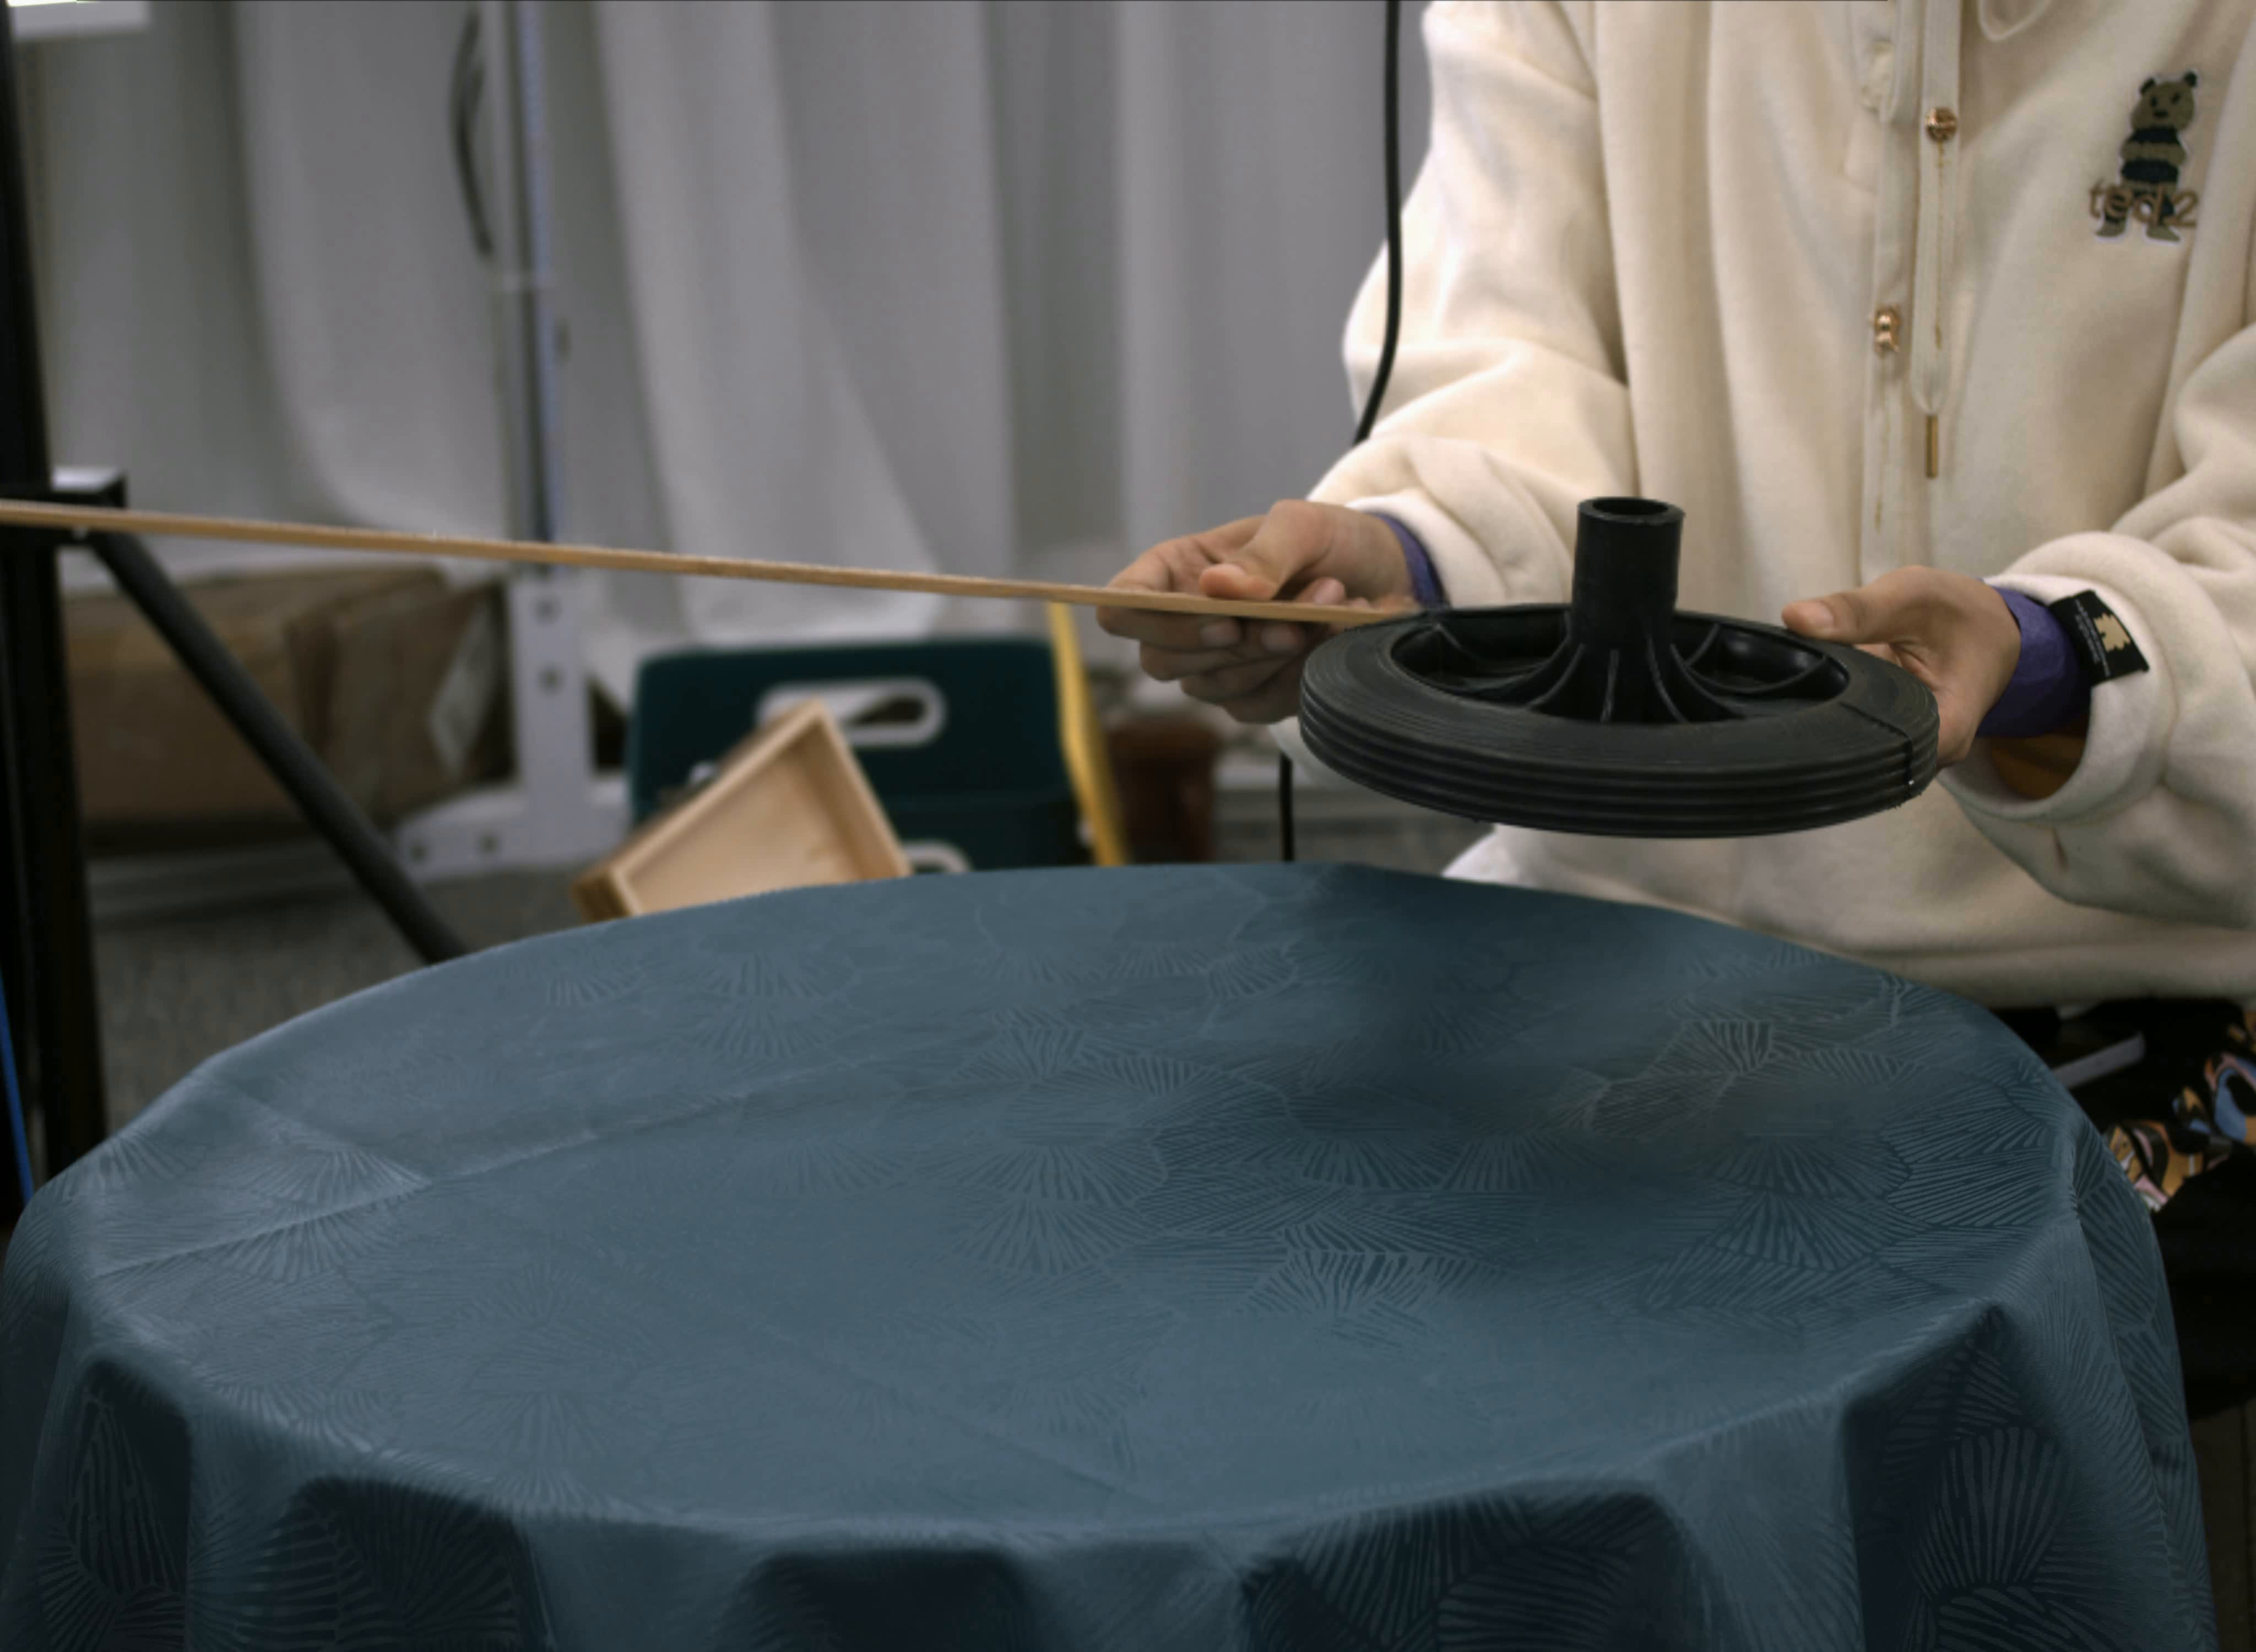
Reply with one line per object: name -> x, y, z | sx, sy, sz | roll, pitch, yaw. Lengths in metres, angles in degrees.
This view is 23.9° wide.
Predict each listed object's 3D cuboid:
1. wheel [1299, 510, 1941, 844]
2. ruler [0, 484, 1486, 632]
wheel -> 0.146, -0.050, 1.554 | 0.186, 0.079, 0.191 | -4, 17, -21
ruler -> -0.135, -0.082, 1.616 | 0.494, 0.006, 0.027 | 5, 3, -8
